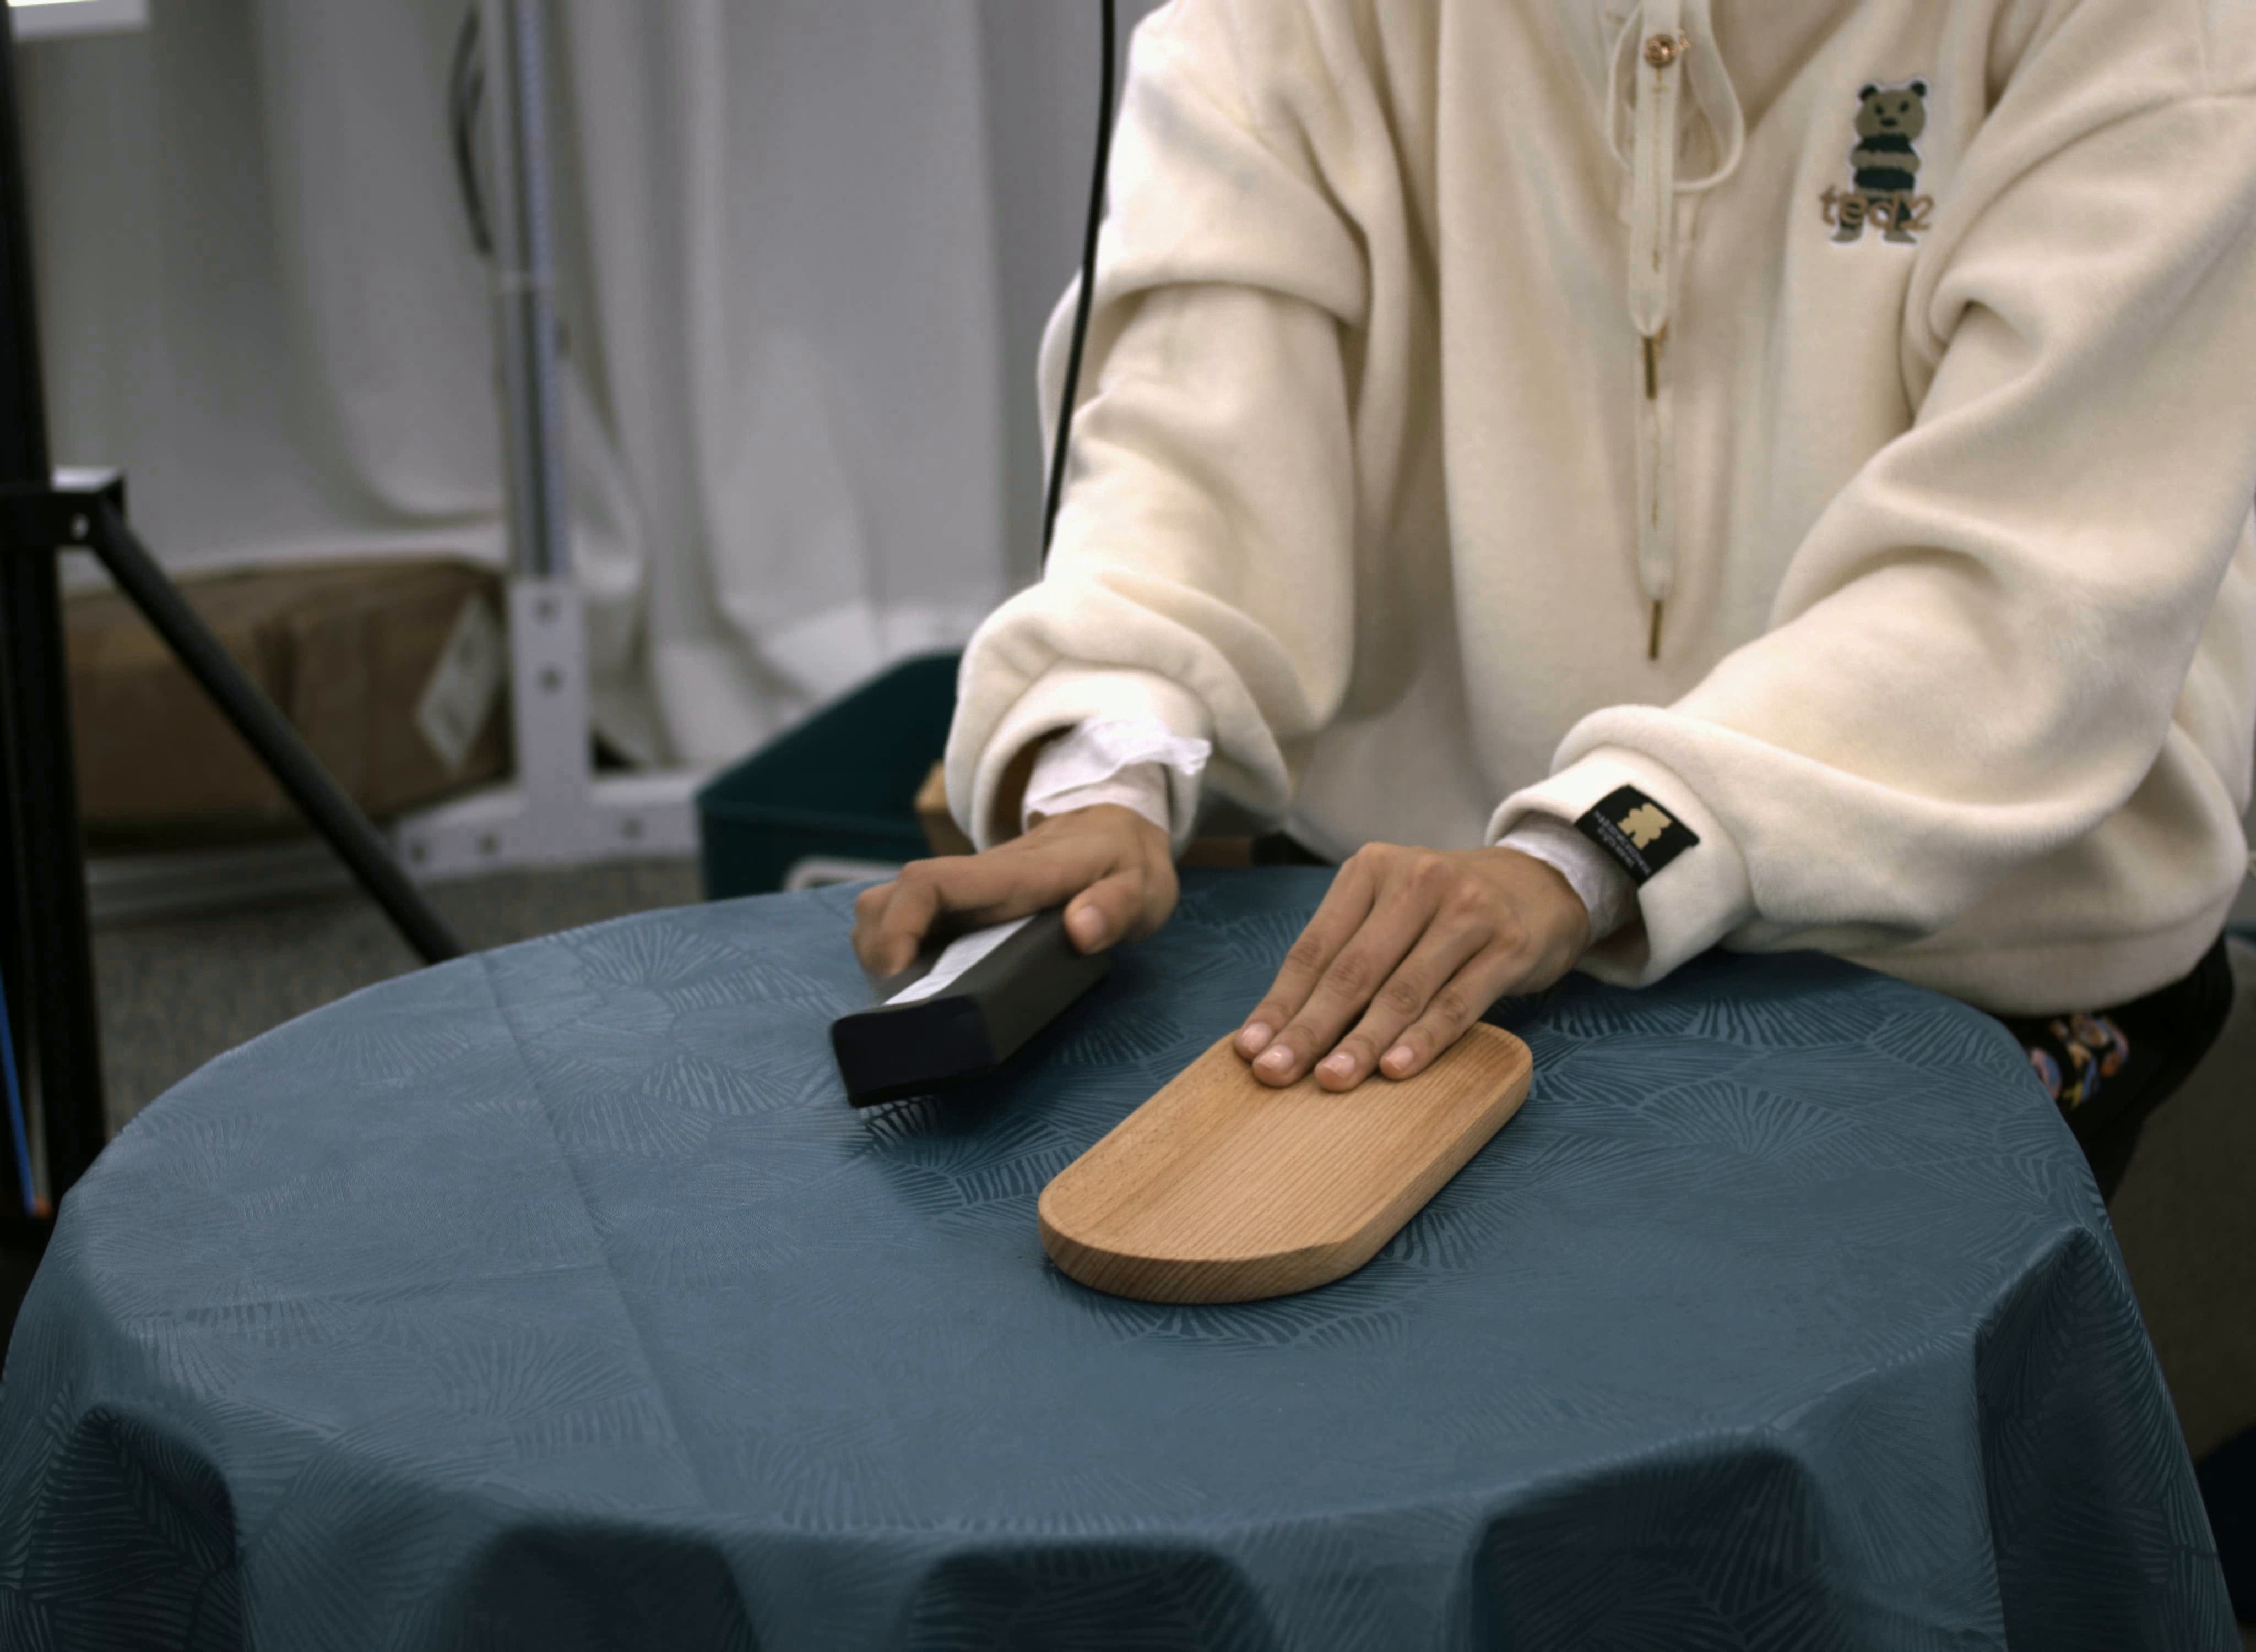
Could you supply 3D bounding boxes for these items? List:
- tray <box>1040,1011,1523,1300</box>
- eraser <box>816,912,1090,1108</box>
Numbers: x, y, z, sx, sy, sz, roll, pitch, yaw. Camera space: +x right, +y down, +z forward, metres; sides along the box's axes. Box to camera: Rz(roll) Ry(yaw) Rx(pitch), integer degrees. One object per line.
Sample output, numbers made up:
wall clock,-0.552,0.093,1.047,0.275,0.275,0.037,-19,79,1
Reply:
tray,0.048,0.095,1.566,0.103,0.020,0.228,4,15,20
eraser,-0.052,0.057,1.664,0.054,0.030,0.124,-5,13,18
